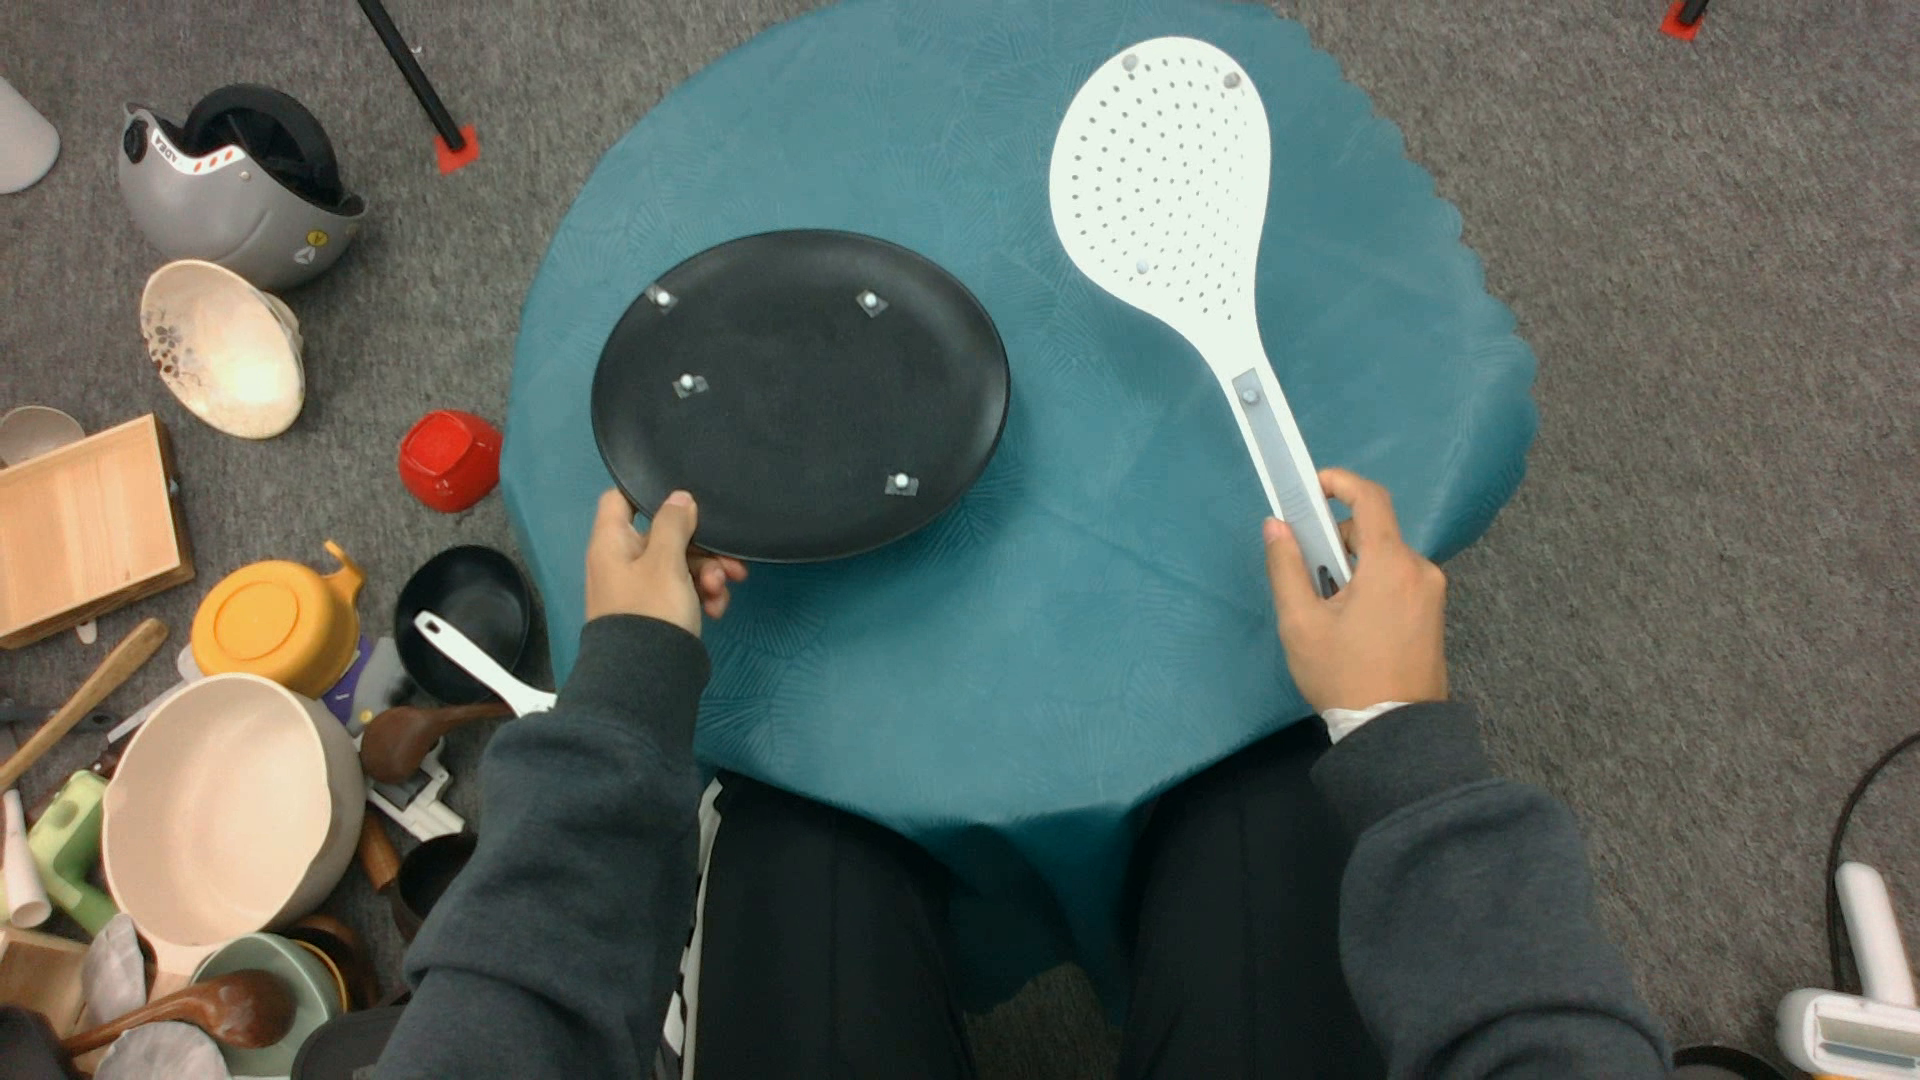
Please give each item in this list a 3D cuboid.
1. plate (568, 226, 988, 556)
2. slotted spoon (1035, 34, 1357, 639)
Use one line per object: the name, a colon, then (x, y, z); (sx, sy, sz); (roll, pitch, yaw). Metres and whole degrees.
plate: (-0.105, -0.091, 0.810); (0.244, 0.023, 0.245); (1, 57, -1)
slotted spoon: (0.138, -0.113, 0.747); (0.135, 0.046, 0.350); (-28, 70, 32)
